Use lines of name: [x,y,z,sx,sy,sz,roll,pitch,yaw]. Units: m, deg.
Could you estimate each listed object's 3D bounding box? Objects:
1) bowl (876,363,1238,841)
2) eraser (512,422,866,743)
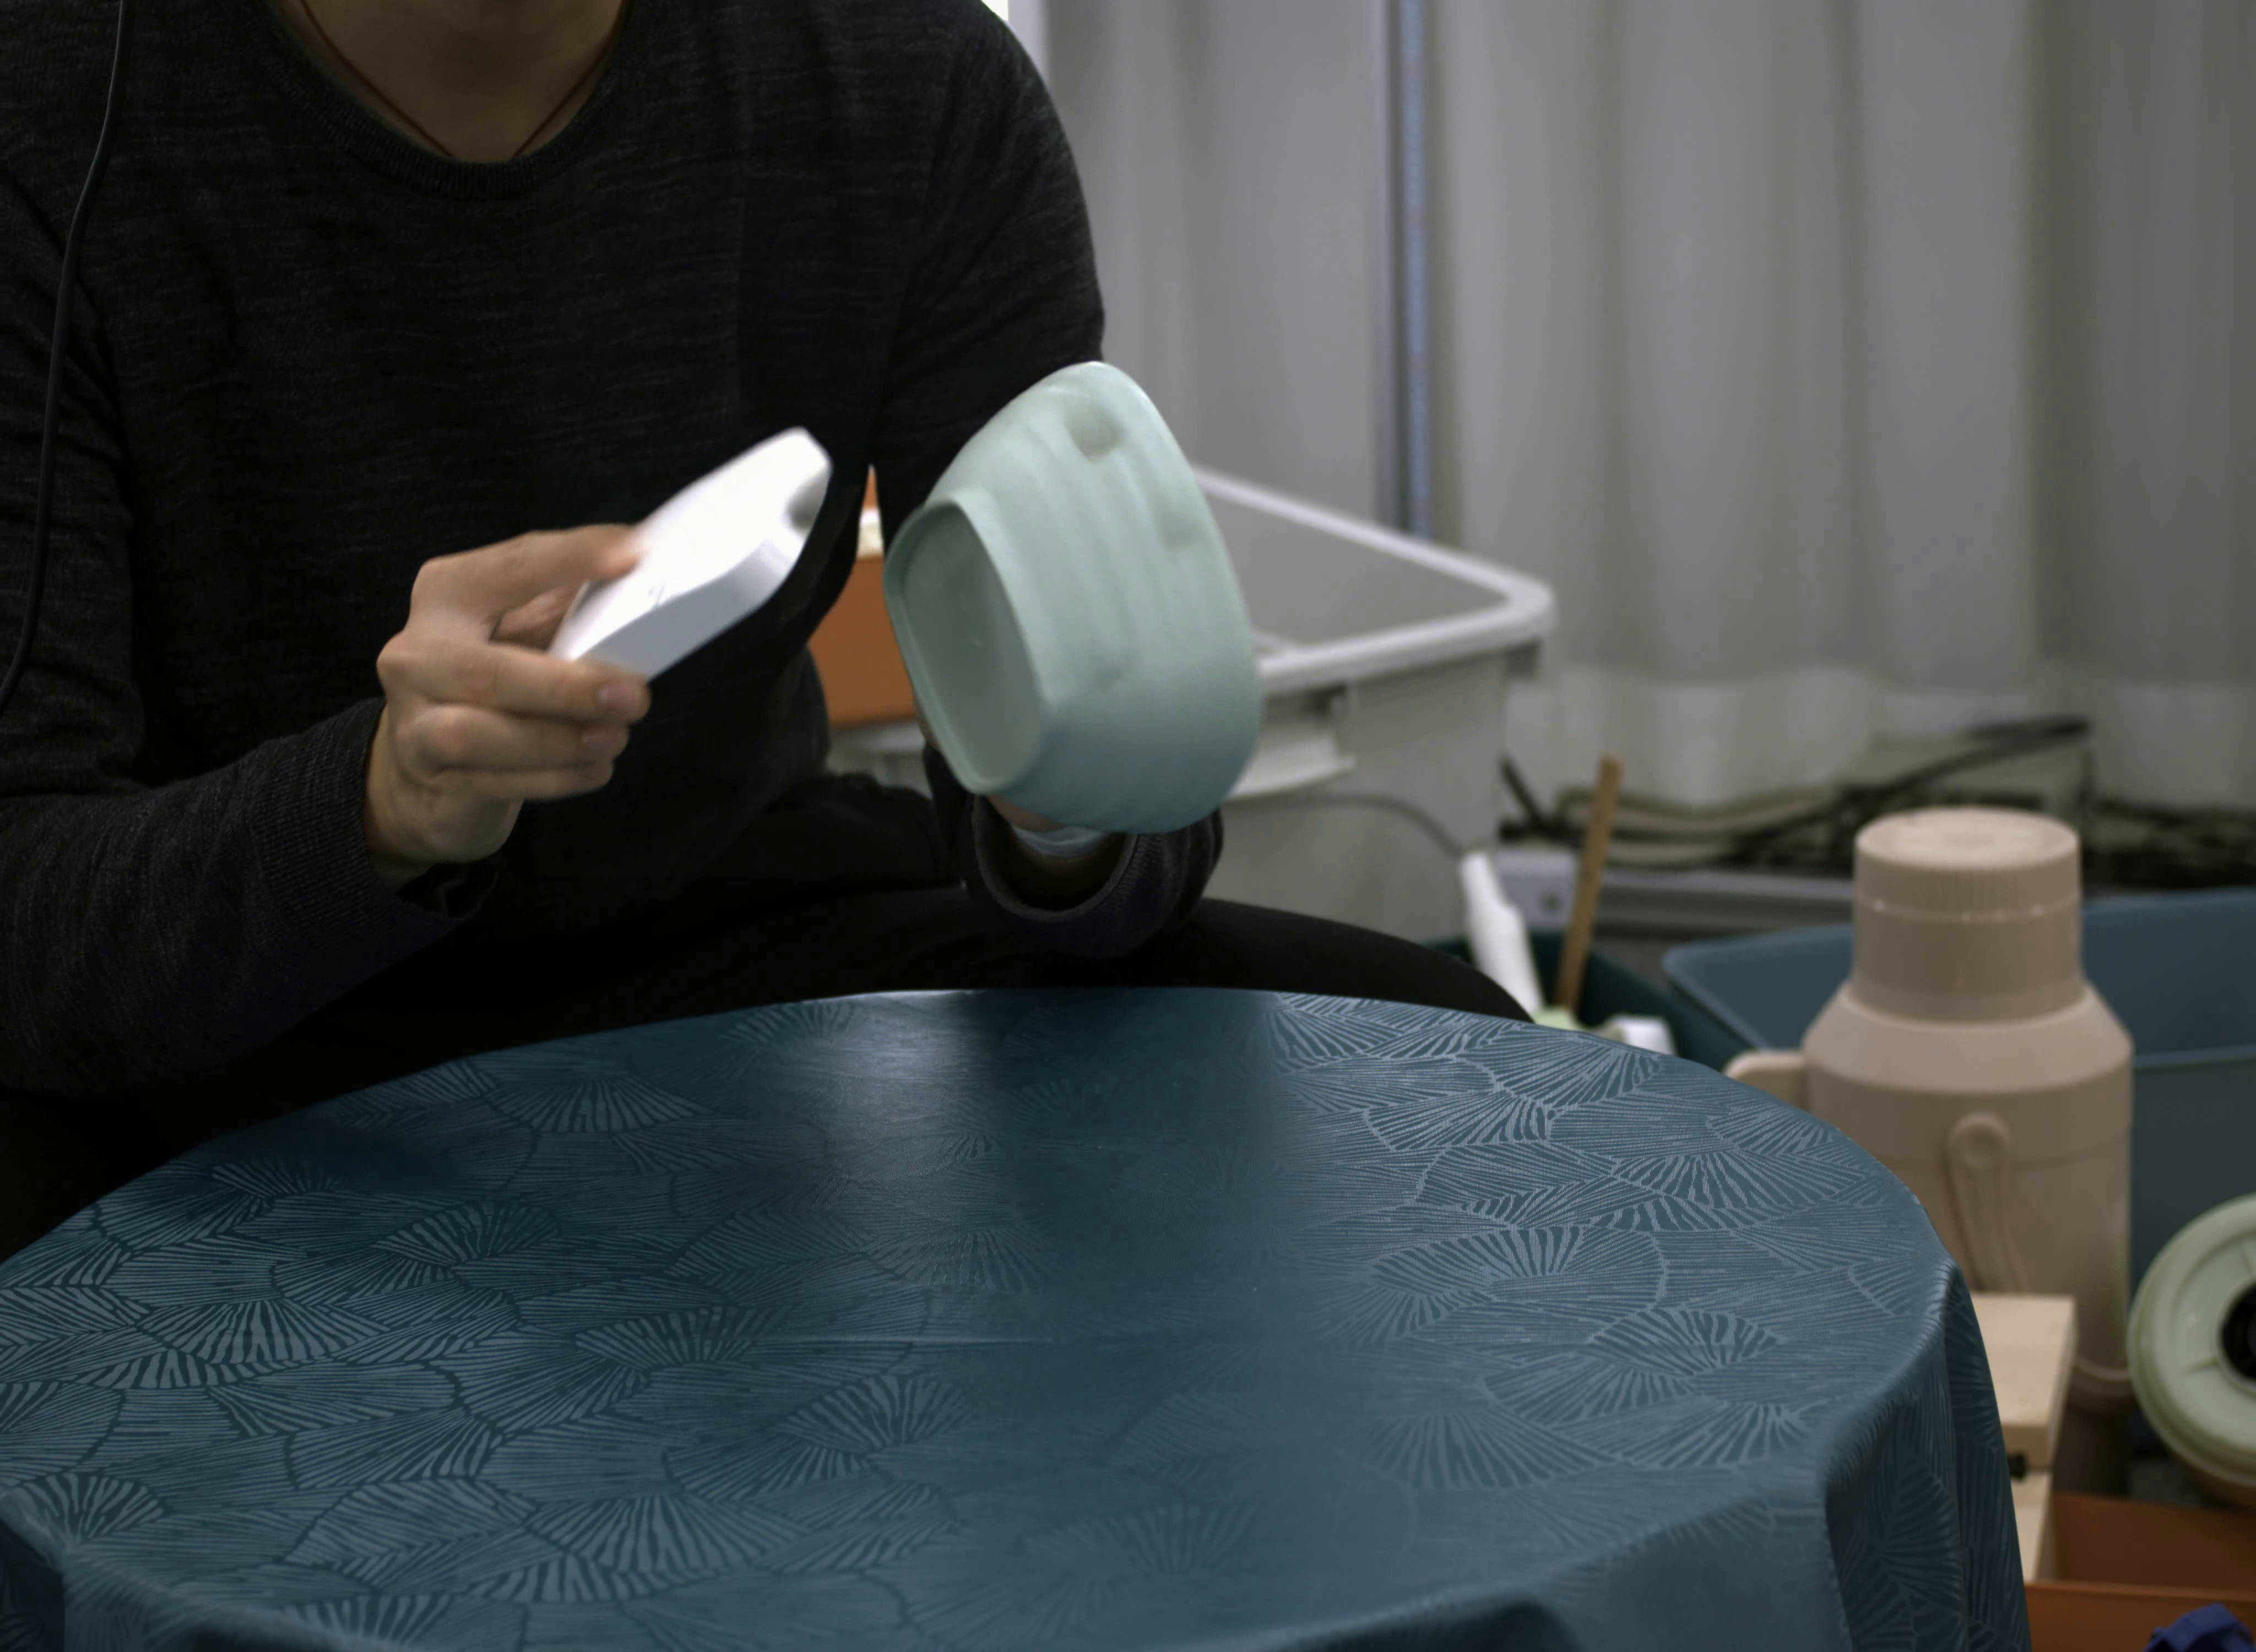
bowl: [-0.028,-0.060,1.617,0.058,0.151,0.152,-14,18,-23]
eraser: [-0.130,-0.072,1.599,0.131,0.034,0.064,-29,28,44]
